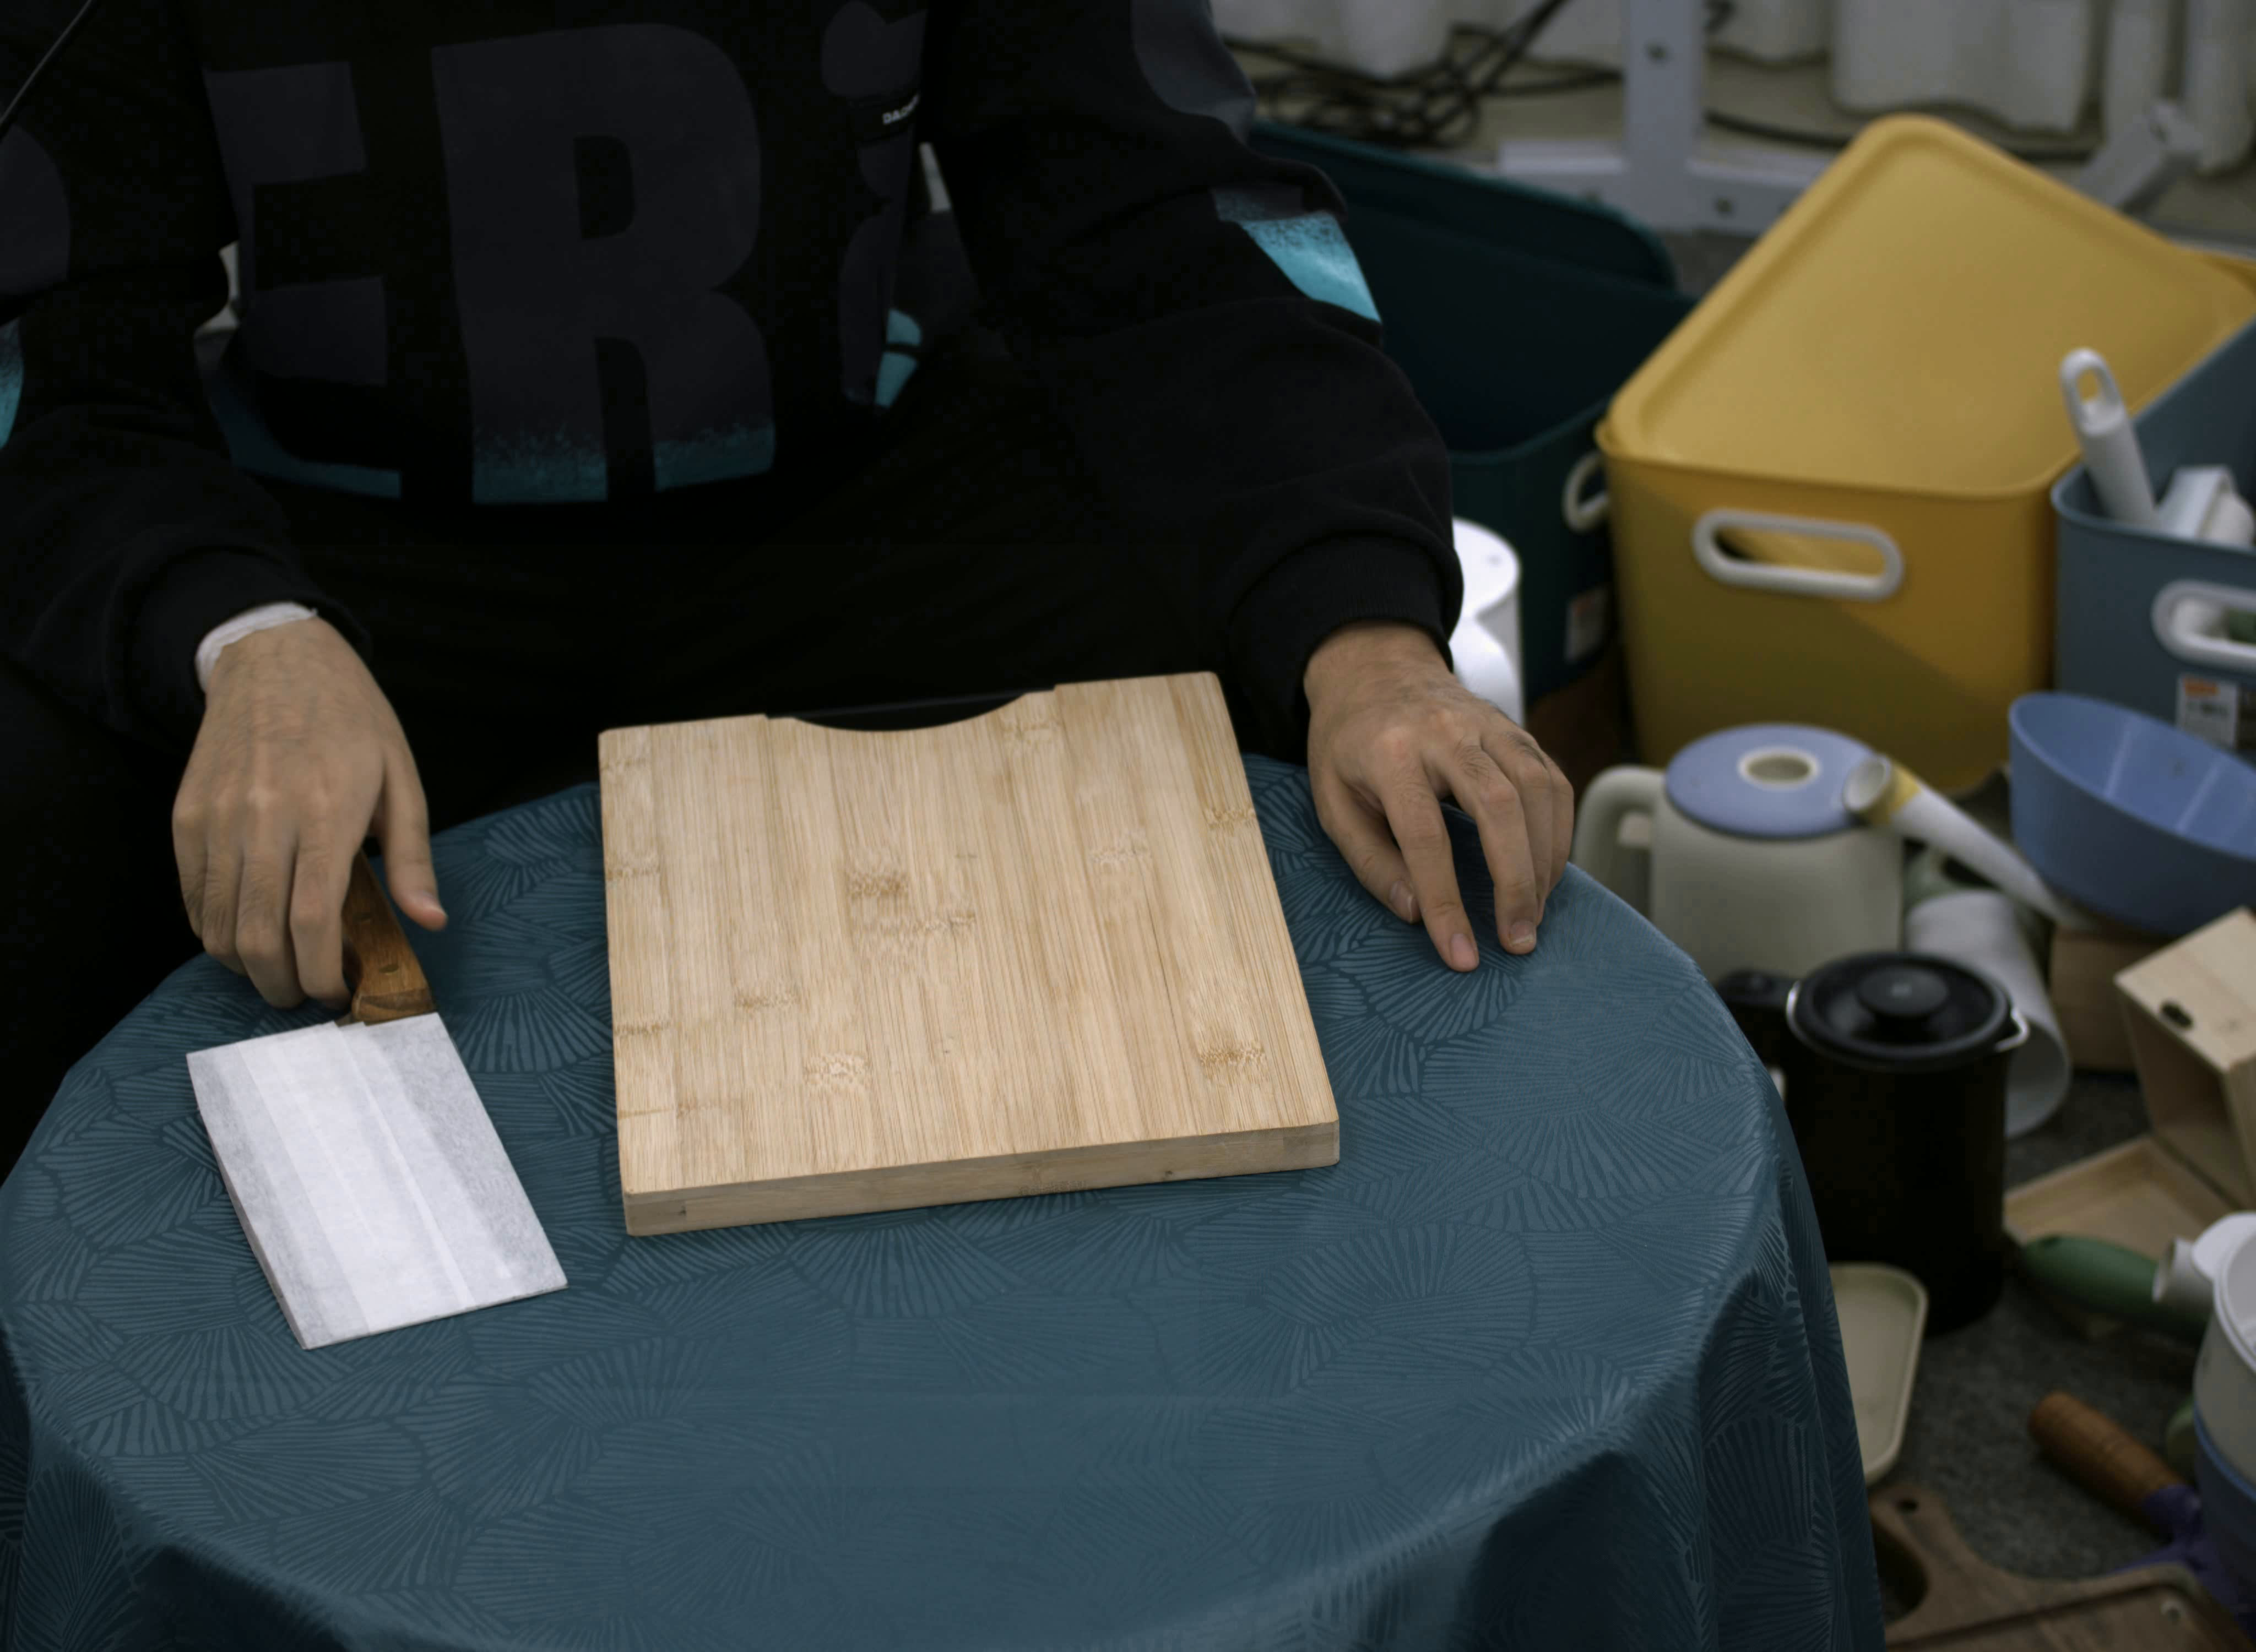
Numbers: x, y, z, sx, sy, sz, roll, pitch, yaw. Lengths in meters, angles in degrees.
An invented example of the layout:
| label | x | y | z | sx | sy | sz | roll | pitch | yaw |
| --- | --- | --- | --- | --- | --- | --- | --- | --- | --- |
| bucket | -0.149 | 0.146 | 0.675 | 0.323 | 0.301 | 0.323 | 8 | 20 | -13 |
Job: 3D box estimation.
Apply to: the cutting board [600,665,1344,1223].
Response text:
| label | x | y | z | sx | sy | sz | roll | pitch | yaw |
| --- | --- | --- | --- | --- | --- | --- | --- | --- | --- |
| cutting board | -0.065 | 0.037 | 2.013 | 0.250 | 0.023 | 0.353 | -6 | 28 | -5 |

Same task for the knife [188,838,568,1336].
| label | x | y | z | sx | sy | sz | roll | pitch | yaw |
| --- | --- | --- | --- | --- | --- | --- | --- | --- | --- |
| knife | -0.272 | 0.089 | 1.936 | 0.093 | 0.021 | 0.309 | -12 | 31 | -16 |
